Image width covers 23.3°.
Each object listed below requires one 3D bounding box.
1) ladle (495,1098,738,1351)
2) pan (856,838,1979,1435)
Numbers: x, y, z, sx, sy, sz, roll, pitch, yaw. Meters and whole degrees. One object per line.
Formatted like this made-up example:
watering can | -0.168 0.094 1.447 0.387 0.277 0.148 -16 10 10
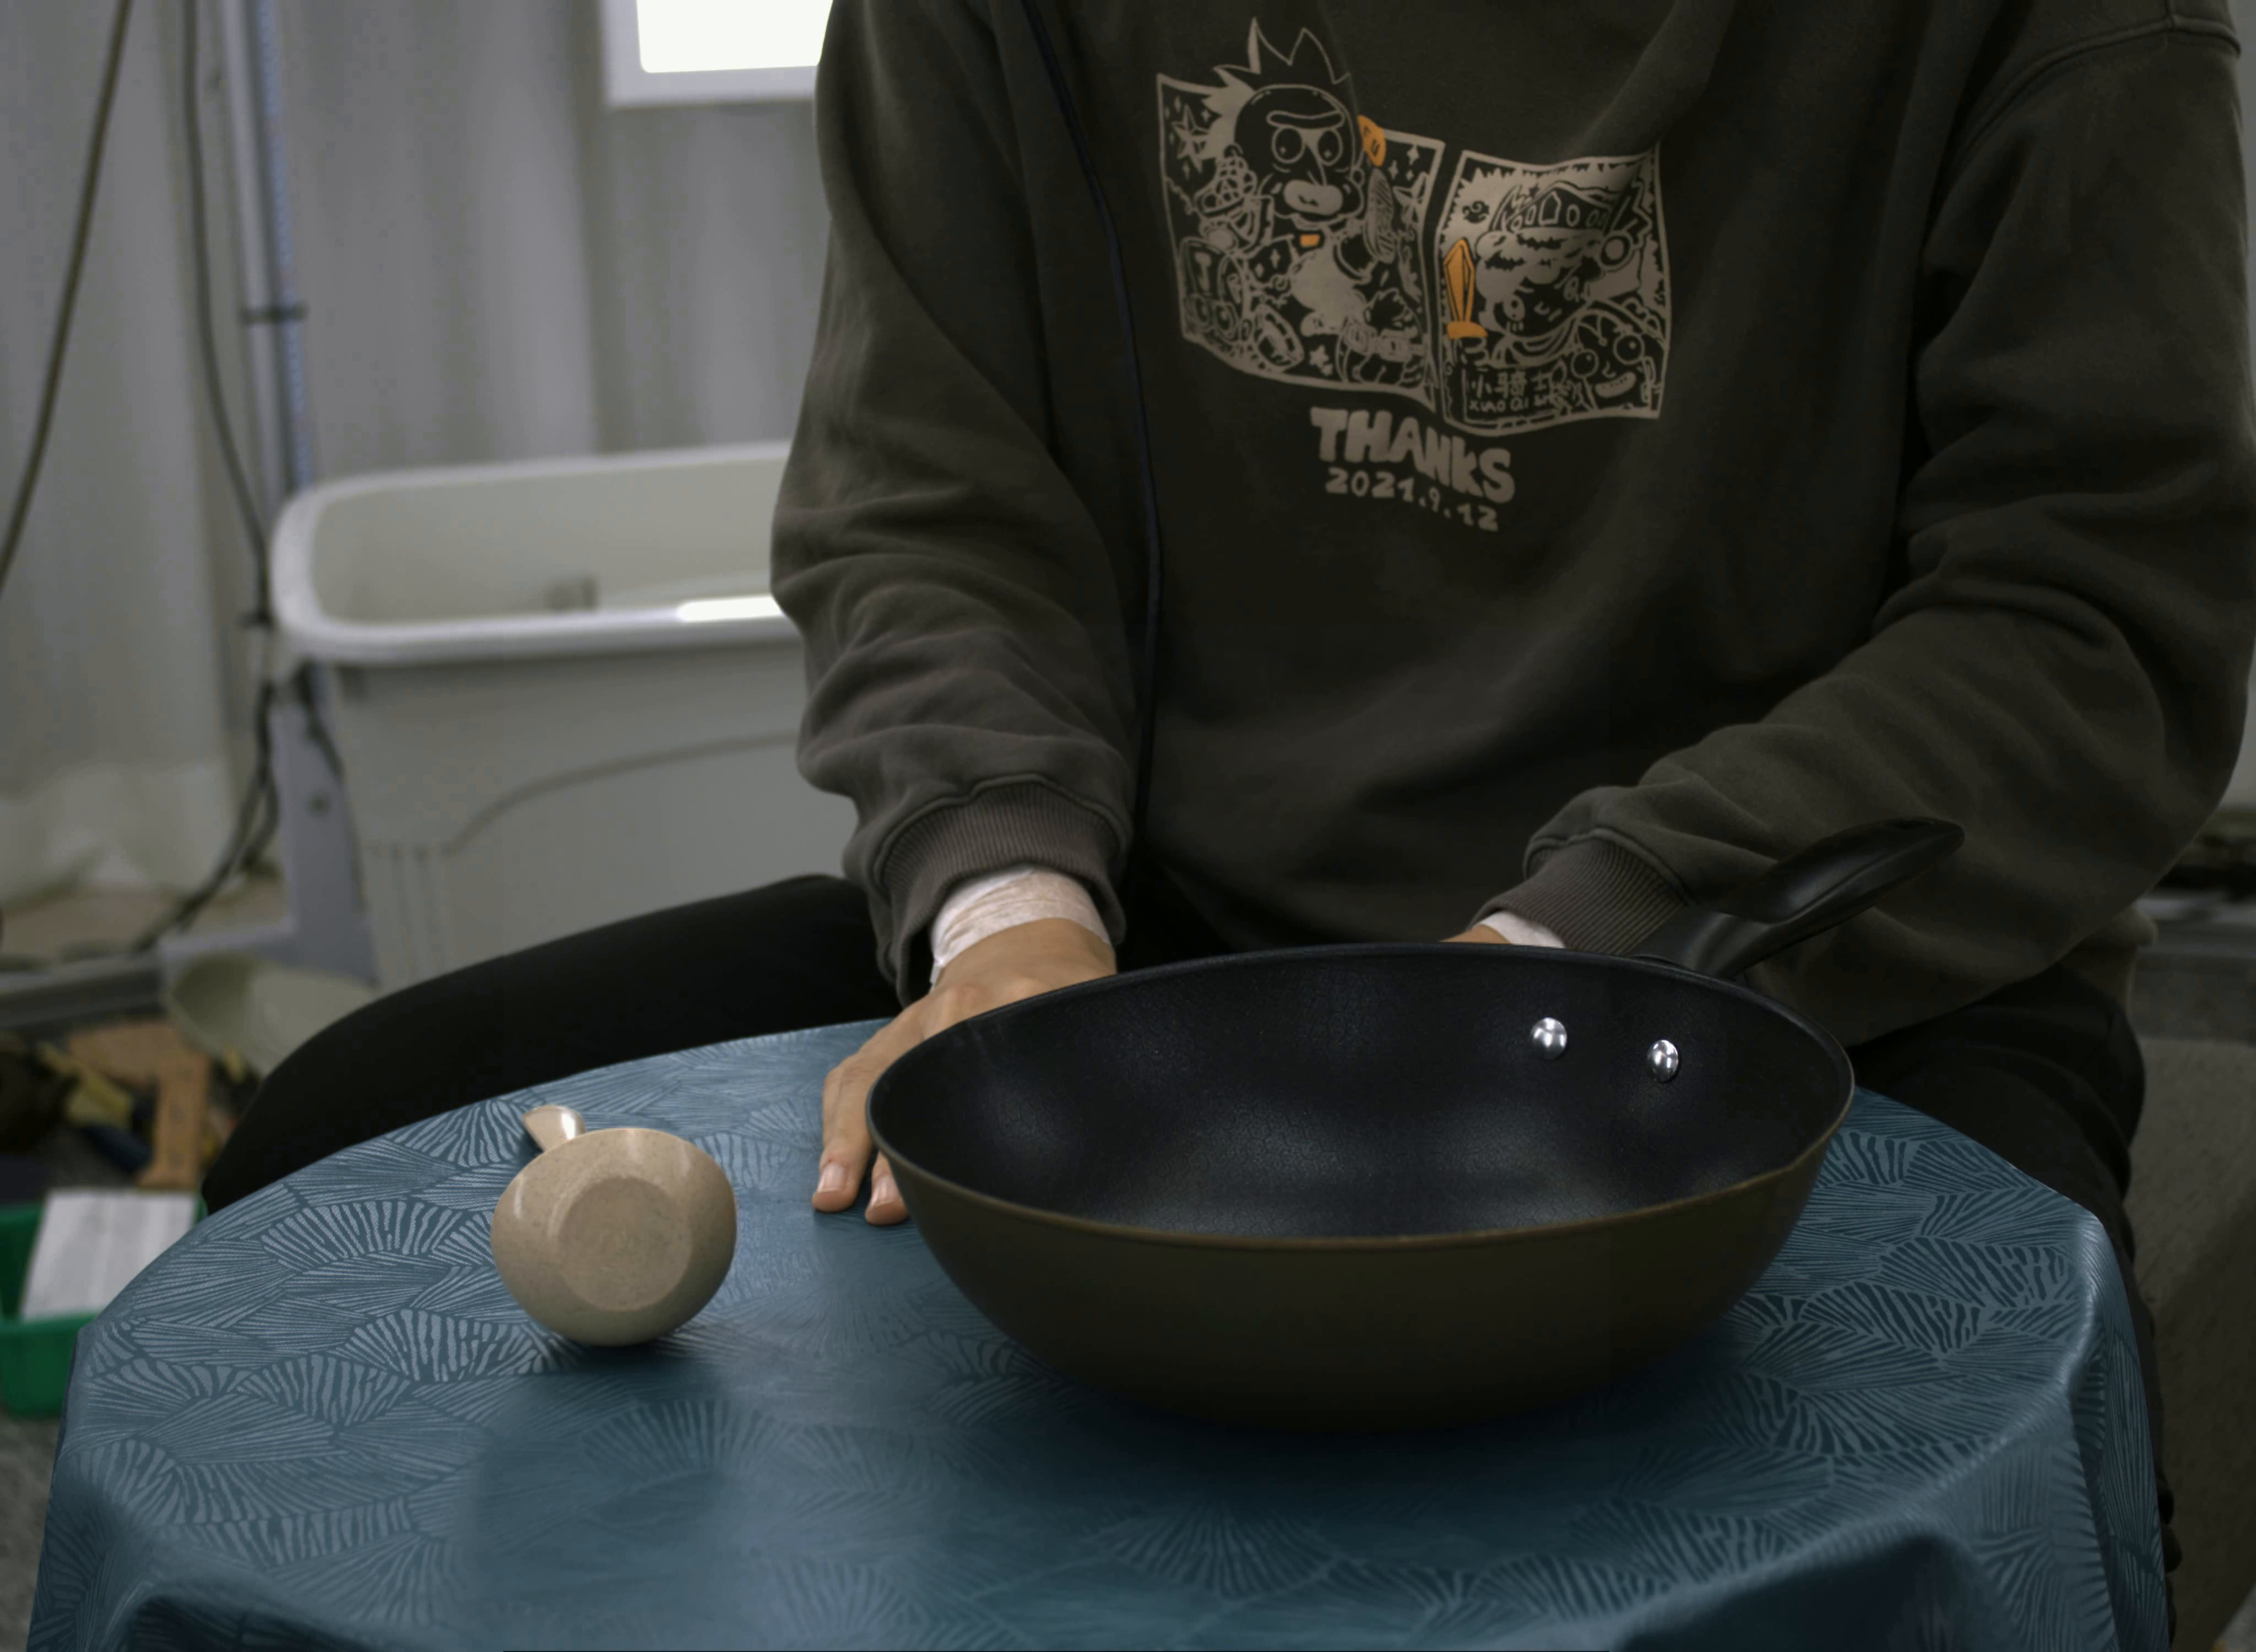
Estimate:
ladle | -0.173 0.093 1.695 0.072 0.072 0.256 -8 17 -12
pan | 0.121 0.089 1.635 0.289 0.086 0.463 9 18 38
